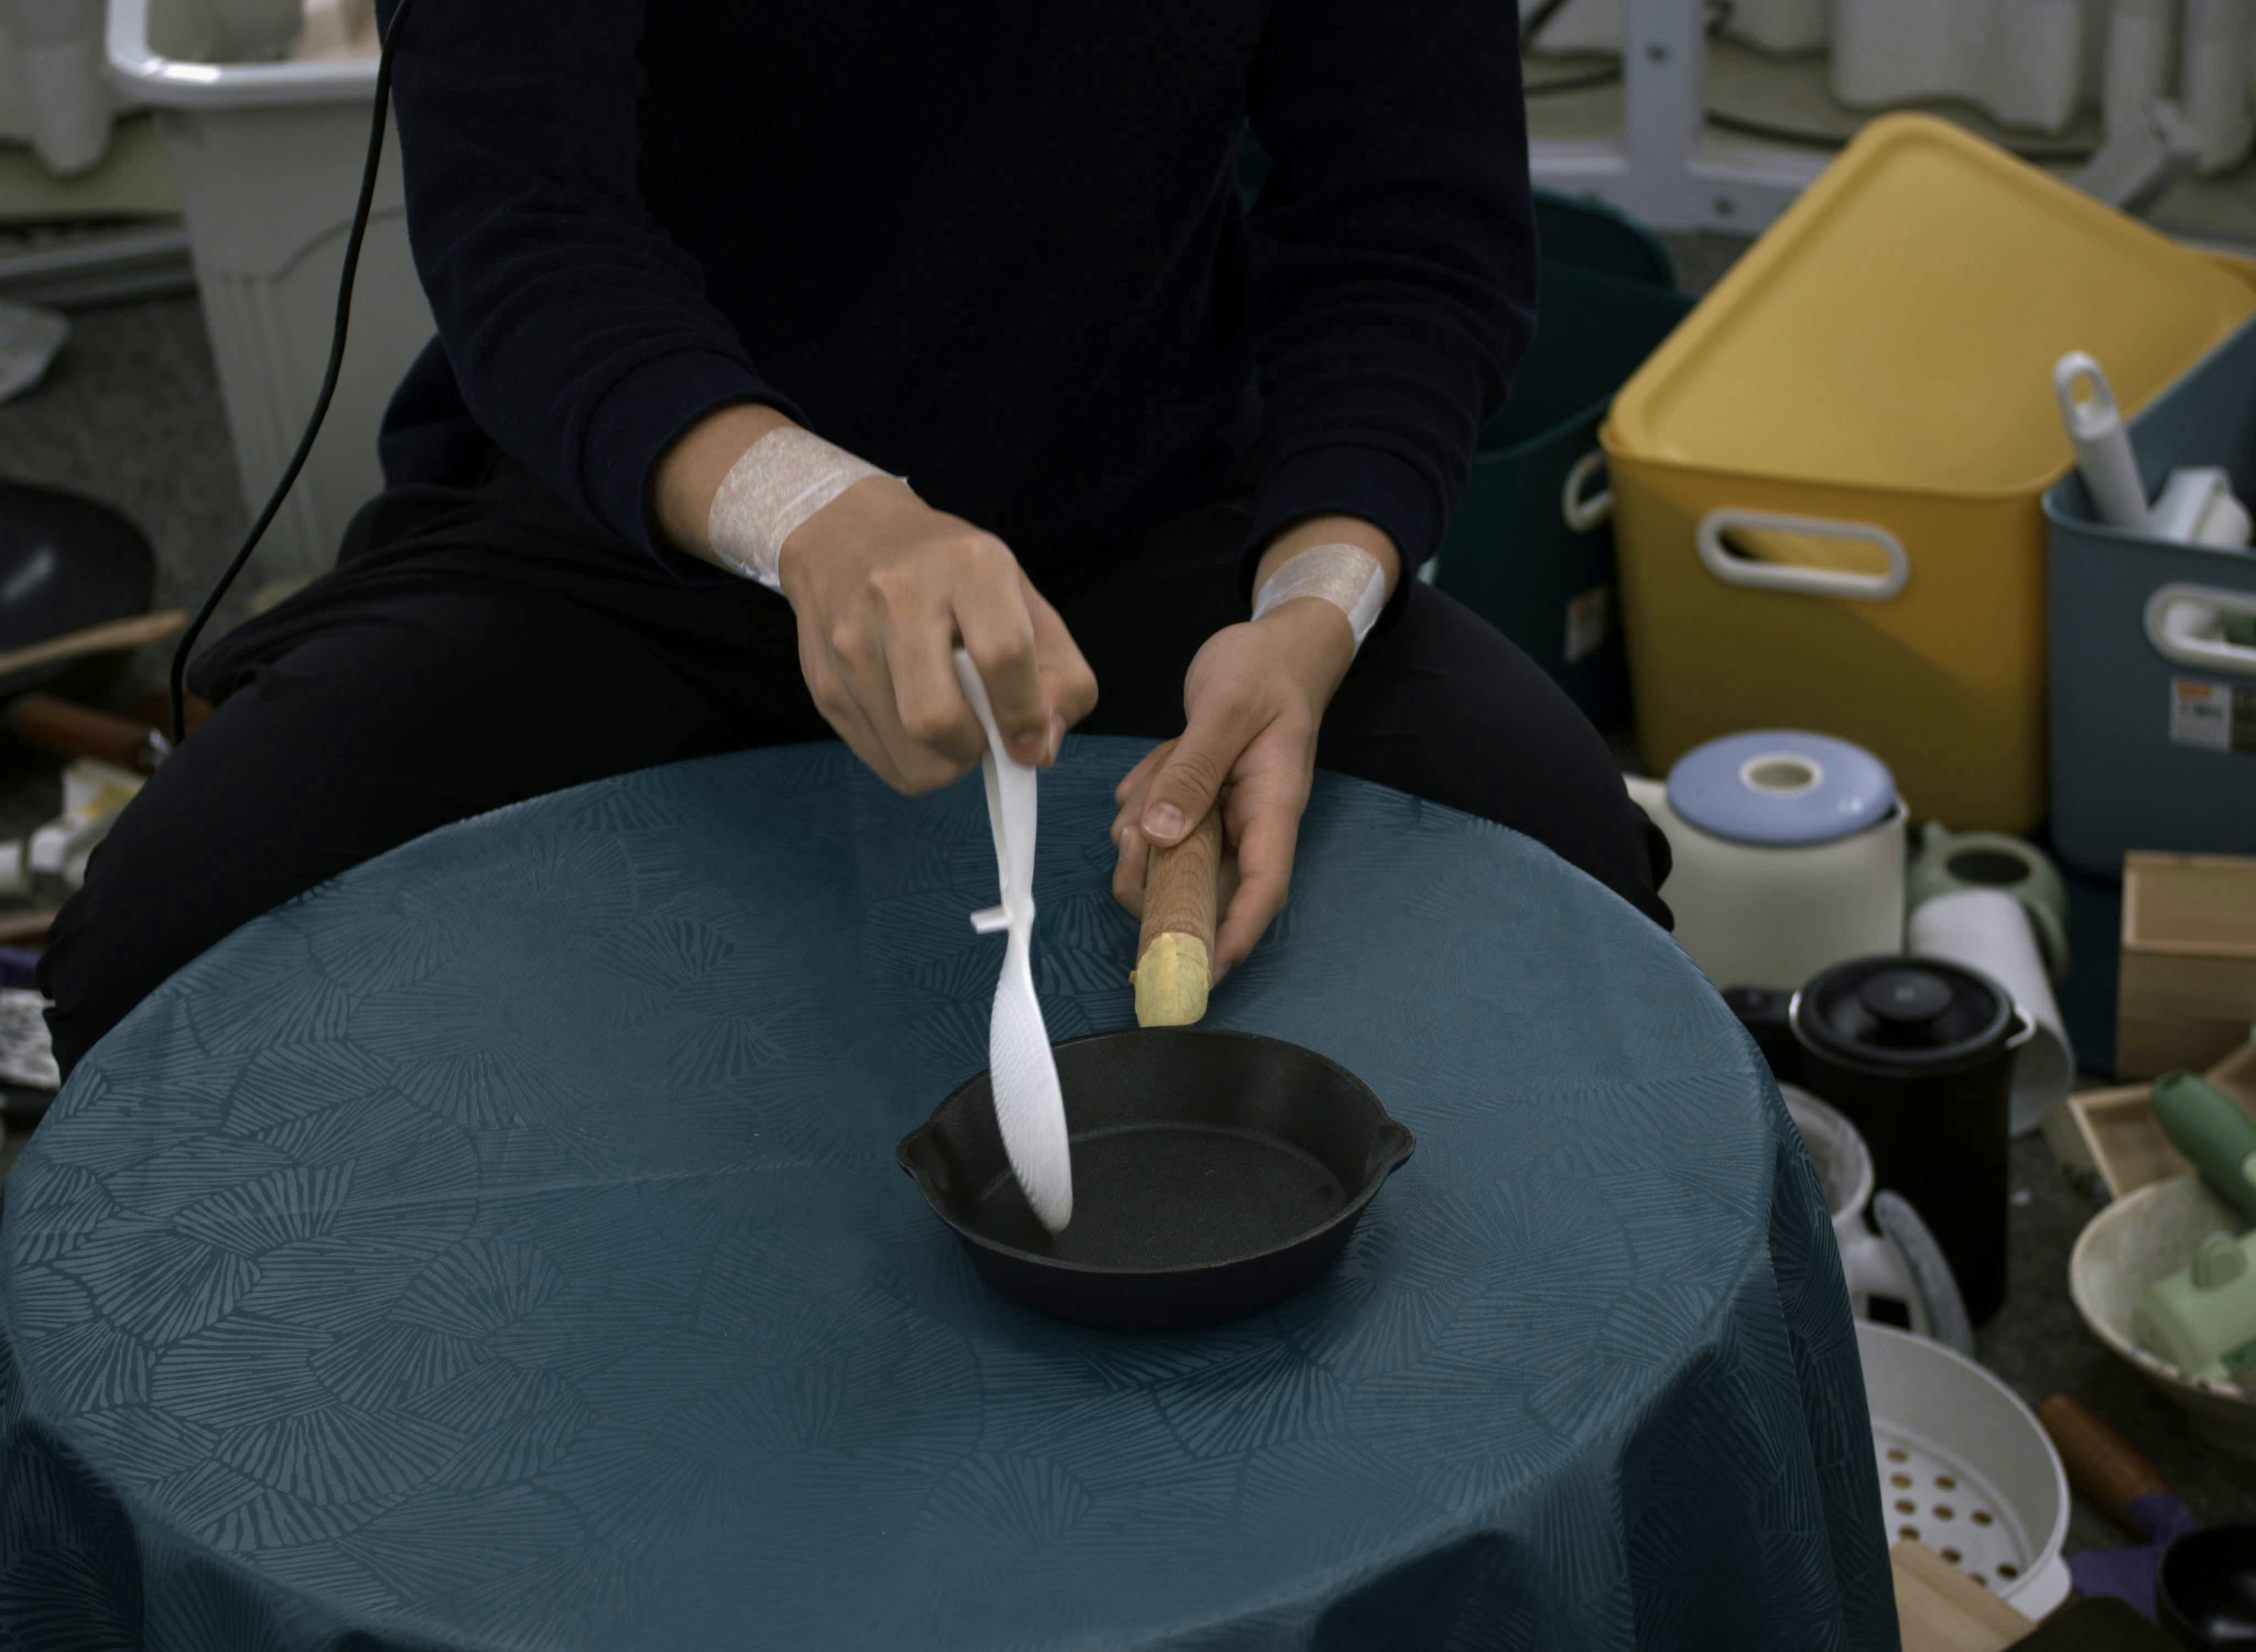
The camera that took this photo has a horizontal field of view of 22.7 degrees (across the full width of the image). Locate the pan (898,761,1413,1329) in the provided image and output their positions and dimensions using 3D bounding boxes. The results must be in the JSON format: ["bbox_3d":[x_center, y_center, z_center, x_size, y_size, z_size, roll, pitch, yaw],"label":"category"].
[{"bbox_3d":[0.016,0.071,1.904,0.168,0.049,0.329,0,28,6],"label":"pan"}]

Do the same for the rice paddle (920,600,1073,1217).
[{"bbox_3d":[-0.035,0.029,1.803,0.029,0.204,0.069,-12,16,-9],"label":"rice paddle"}]
